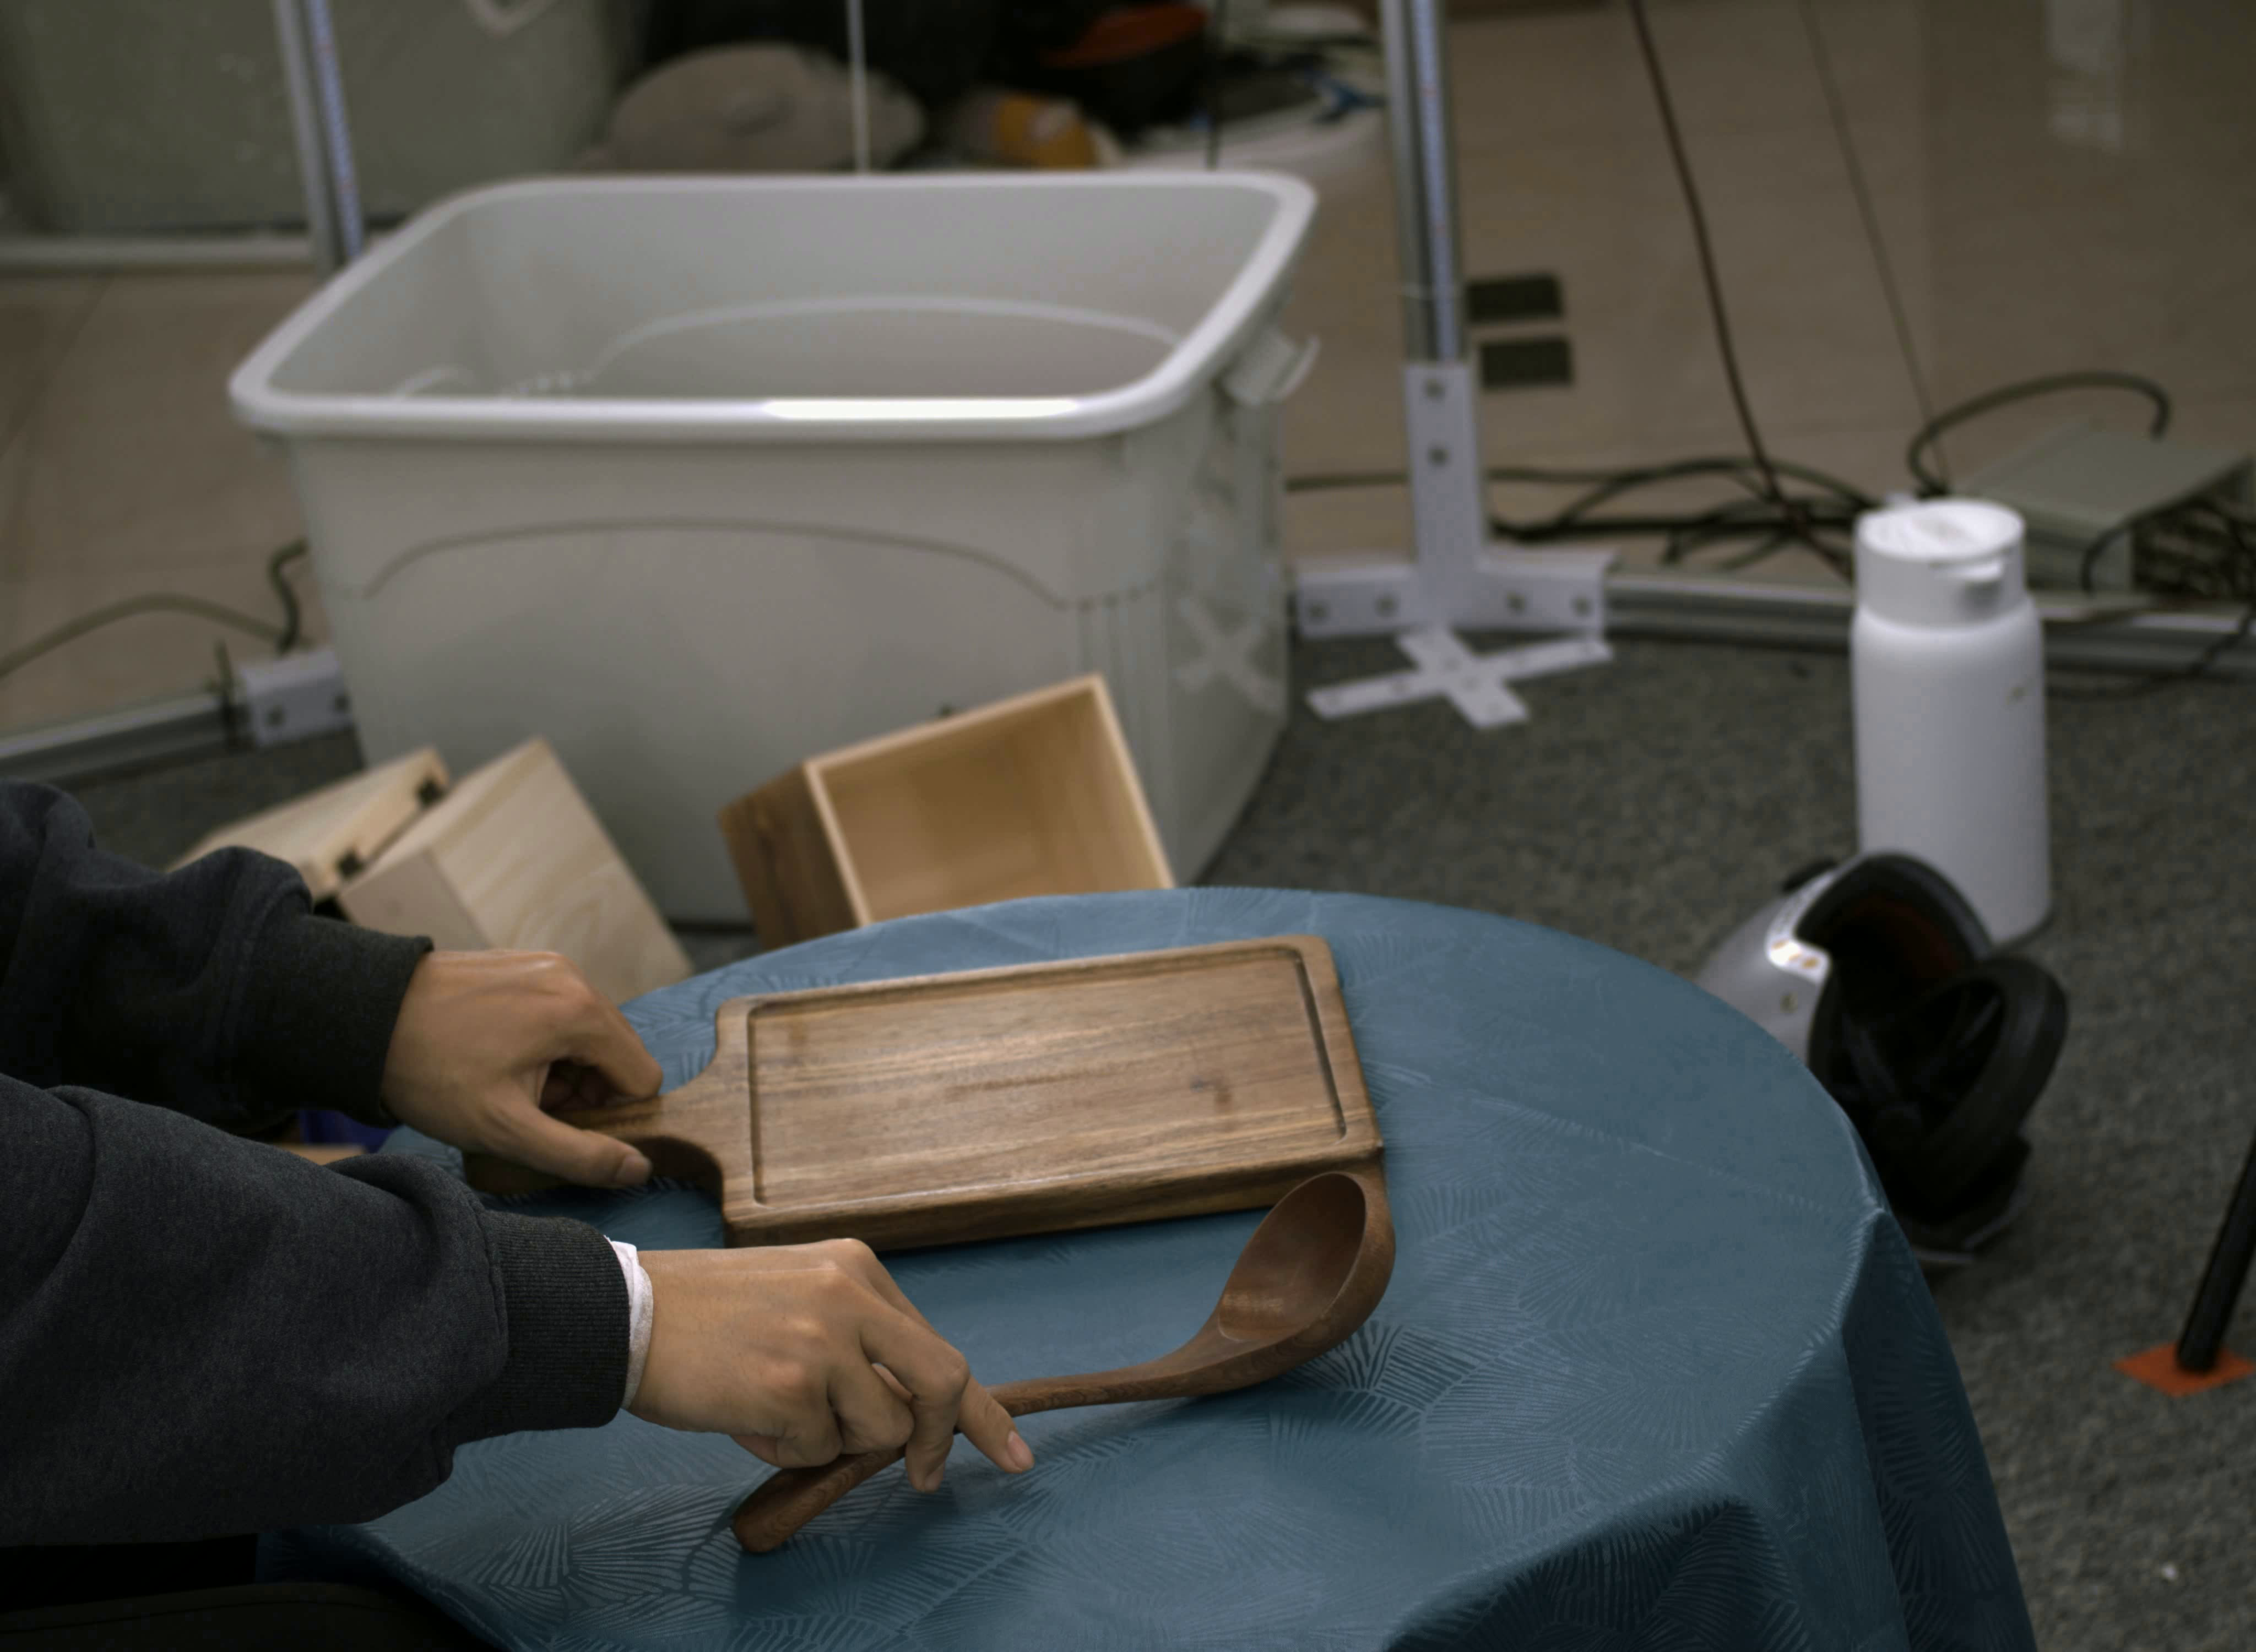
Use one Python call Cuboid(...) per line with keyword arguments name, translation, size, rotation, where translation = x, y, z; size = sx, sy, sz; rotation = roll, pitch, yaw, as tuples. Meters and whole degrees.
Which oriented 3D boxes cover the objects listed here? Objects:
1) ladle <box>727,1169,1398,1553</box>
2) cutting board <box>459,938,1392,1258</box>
Cuboid(name="ladle", translation=(-0.024, 0.185, 1.977), size=(0.259, 0.066, 0.076), rotation=(-16, 14, -19))
Cuboid(name="cutting board", translation=(-0.083, 0.108, 2.199), size=(0.351, 0.023, 0.198), rotation=(-6, 24, -3))
